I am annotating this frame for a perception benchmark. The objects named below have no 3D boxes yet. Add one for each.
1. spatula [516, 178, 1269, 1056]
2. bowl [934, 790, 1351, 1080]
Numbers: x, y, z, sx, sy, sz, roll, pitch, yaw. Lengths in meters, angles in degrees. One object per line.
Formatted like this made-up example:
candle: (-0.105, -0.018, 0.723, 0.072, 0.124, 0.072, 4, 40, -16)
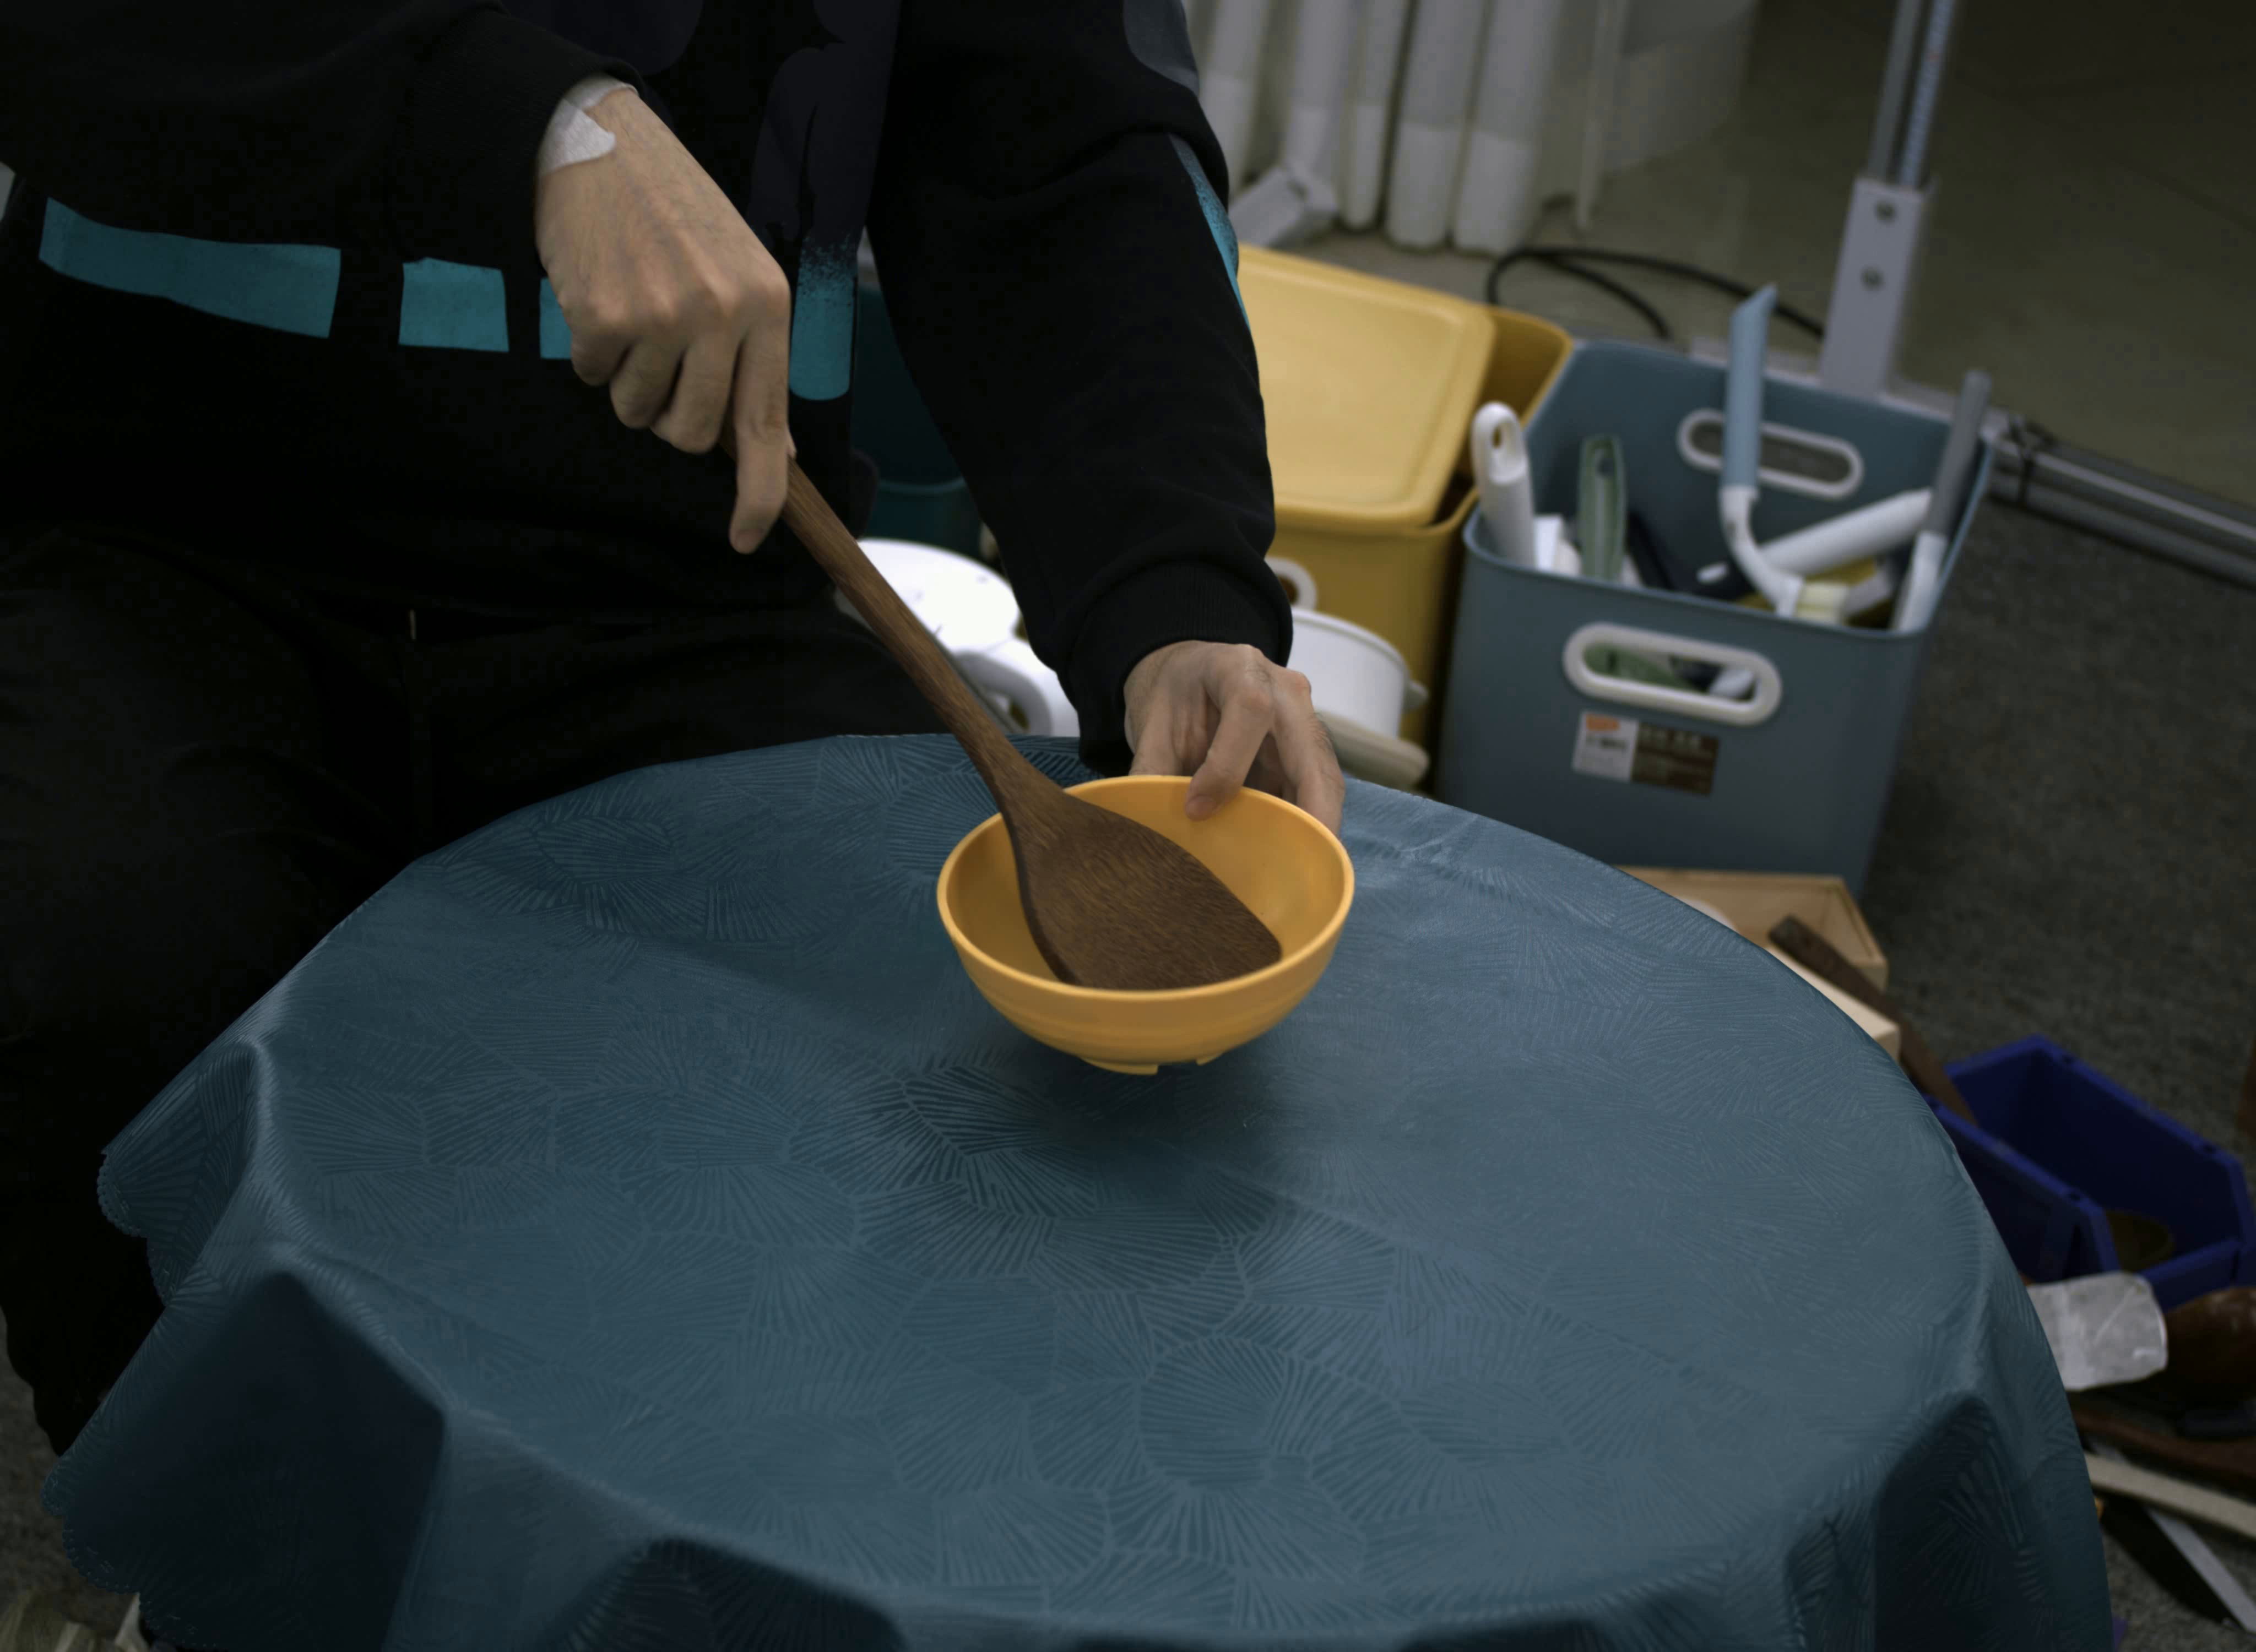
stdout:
spatula: (-0.088, -0.078, 1.852, 0.386, 0.016, 0.096, 51, 40, 3)
bowl: (0.005, 0.046, 1.851, 0.145, 0.060, 0.146, -1, 28, 0)
